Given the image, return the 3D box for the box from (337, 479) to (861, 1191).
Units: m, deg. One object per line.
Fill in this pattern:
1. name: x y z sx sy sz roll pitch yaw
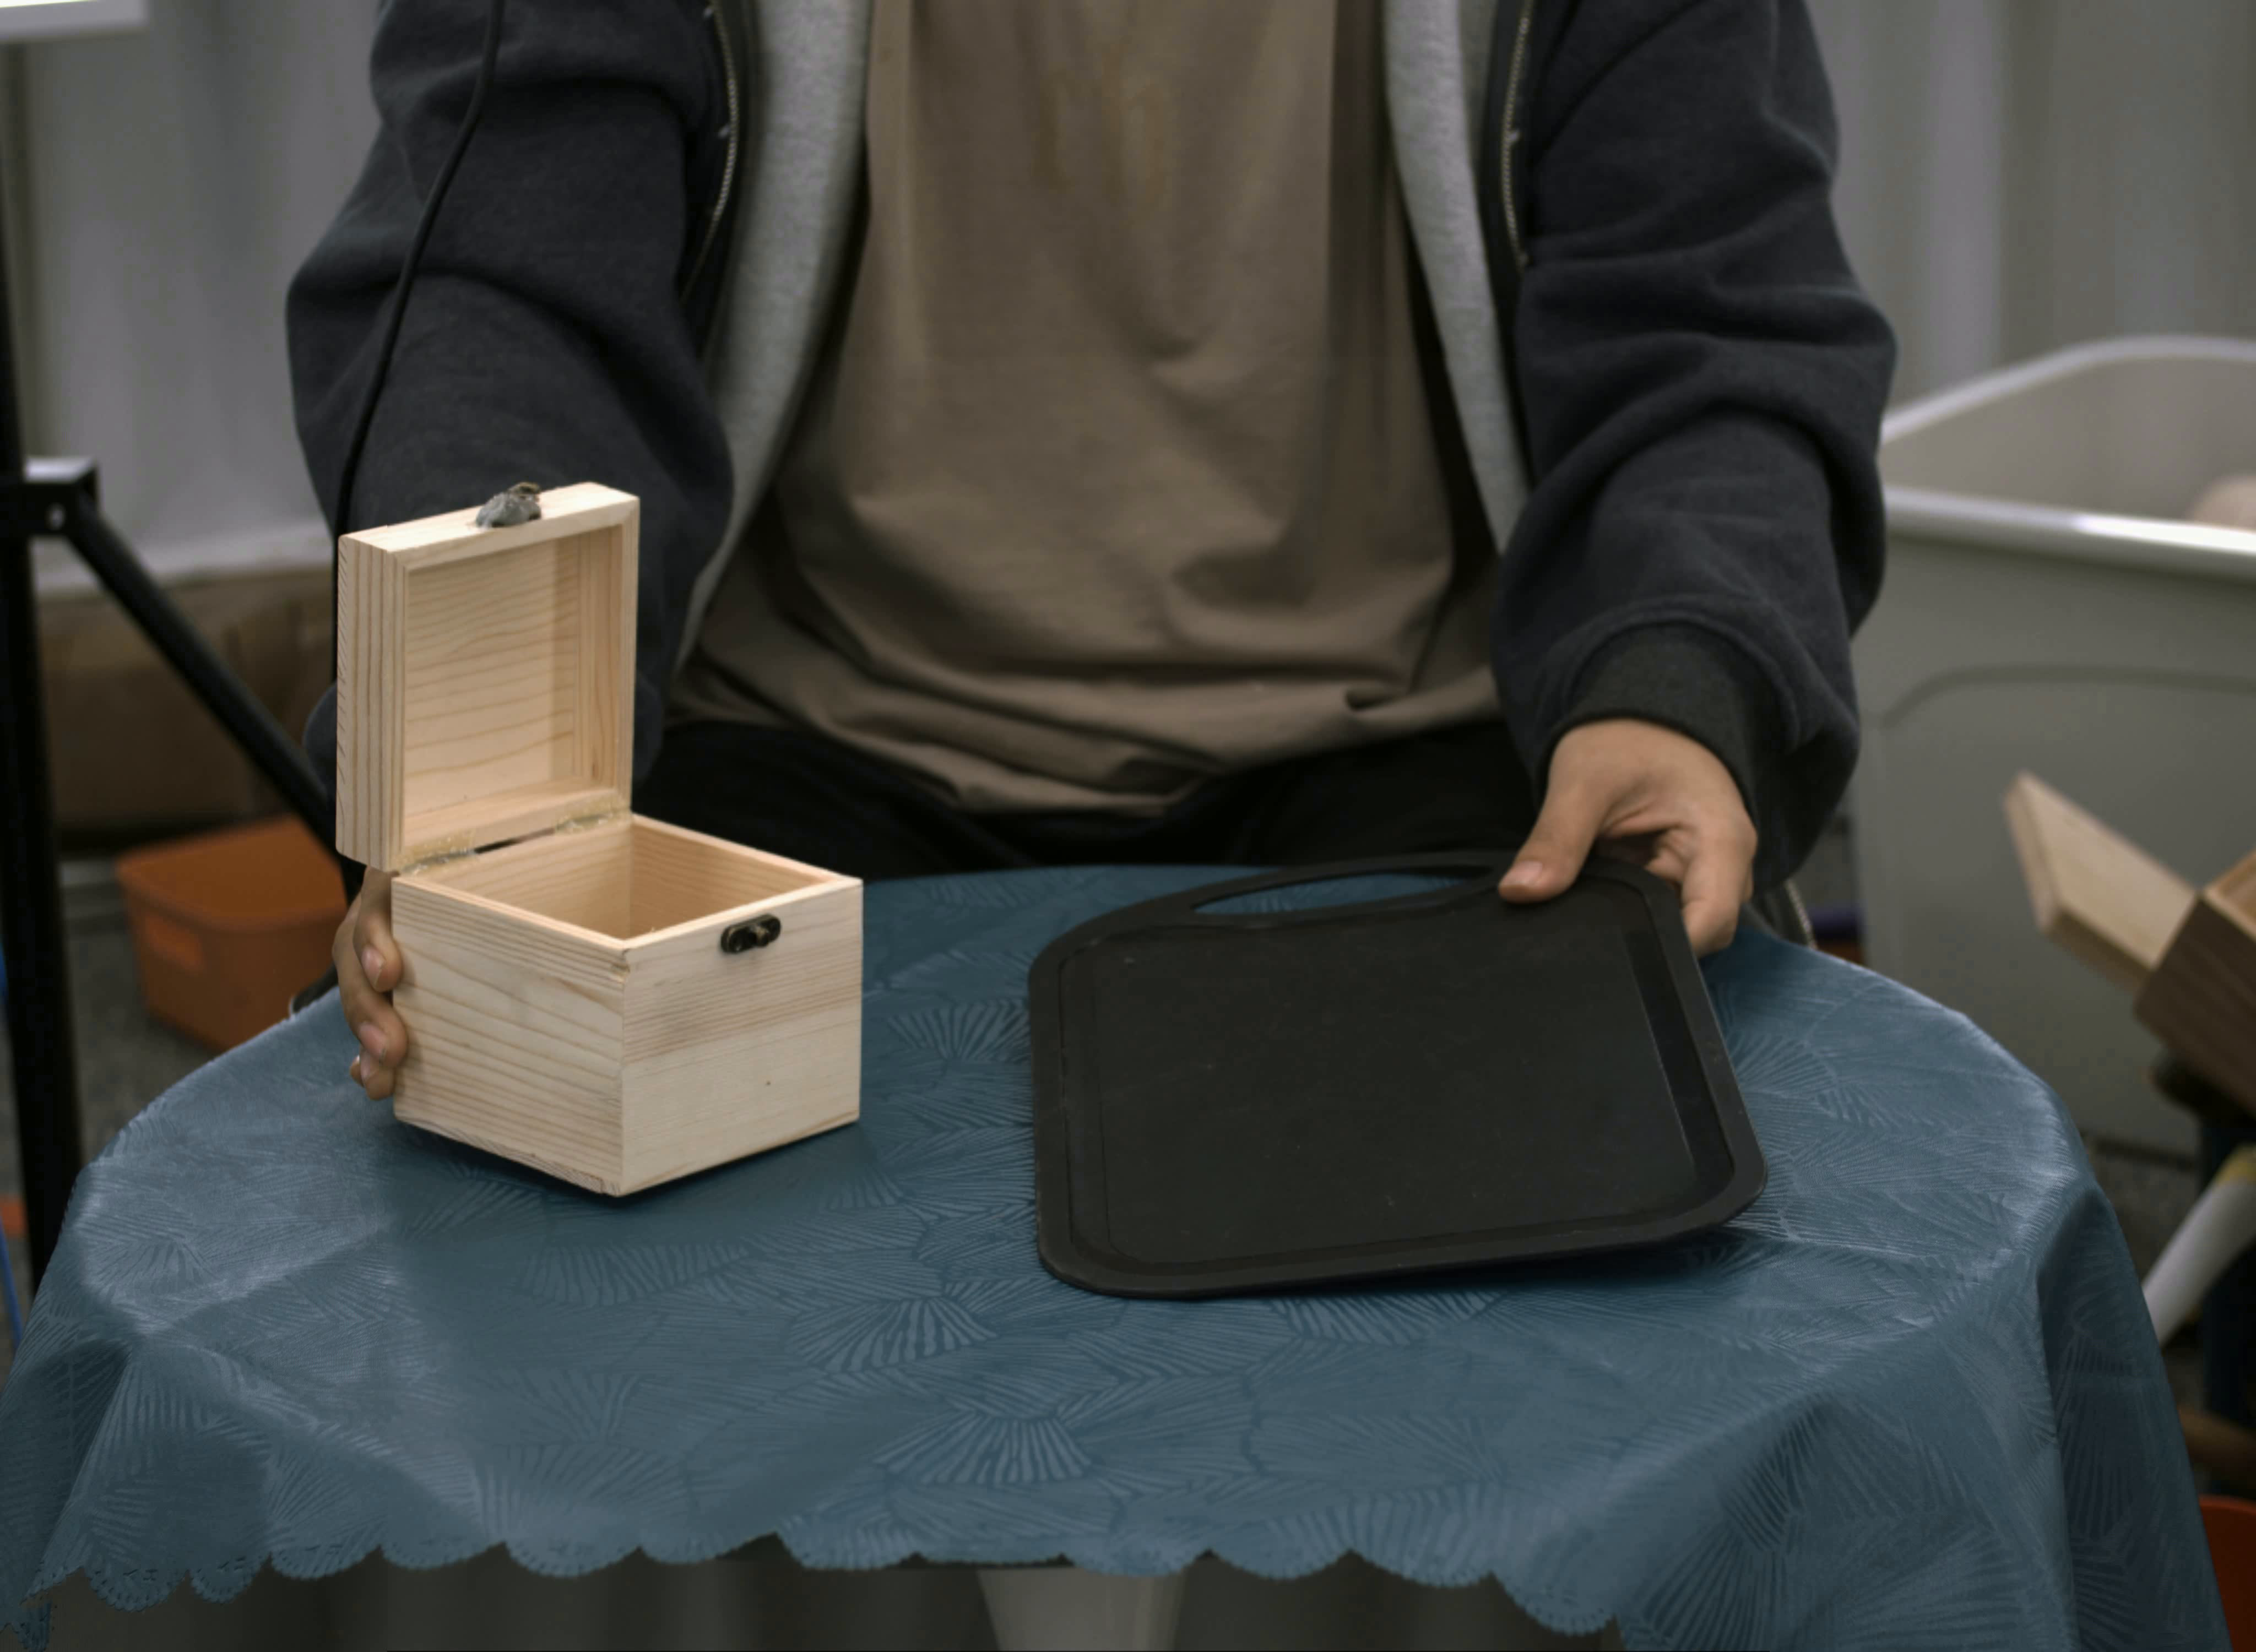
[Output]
1. box: -0.158 -0.001 1.612 0.137 0.184 0.100 13 20 40

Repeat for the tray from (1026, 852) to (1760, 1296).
1. tray: 0.073 0.067 1.619 0.210 0.010 0.327 -7 20 2
